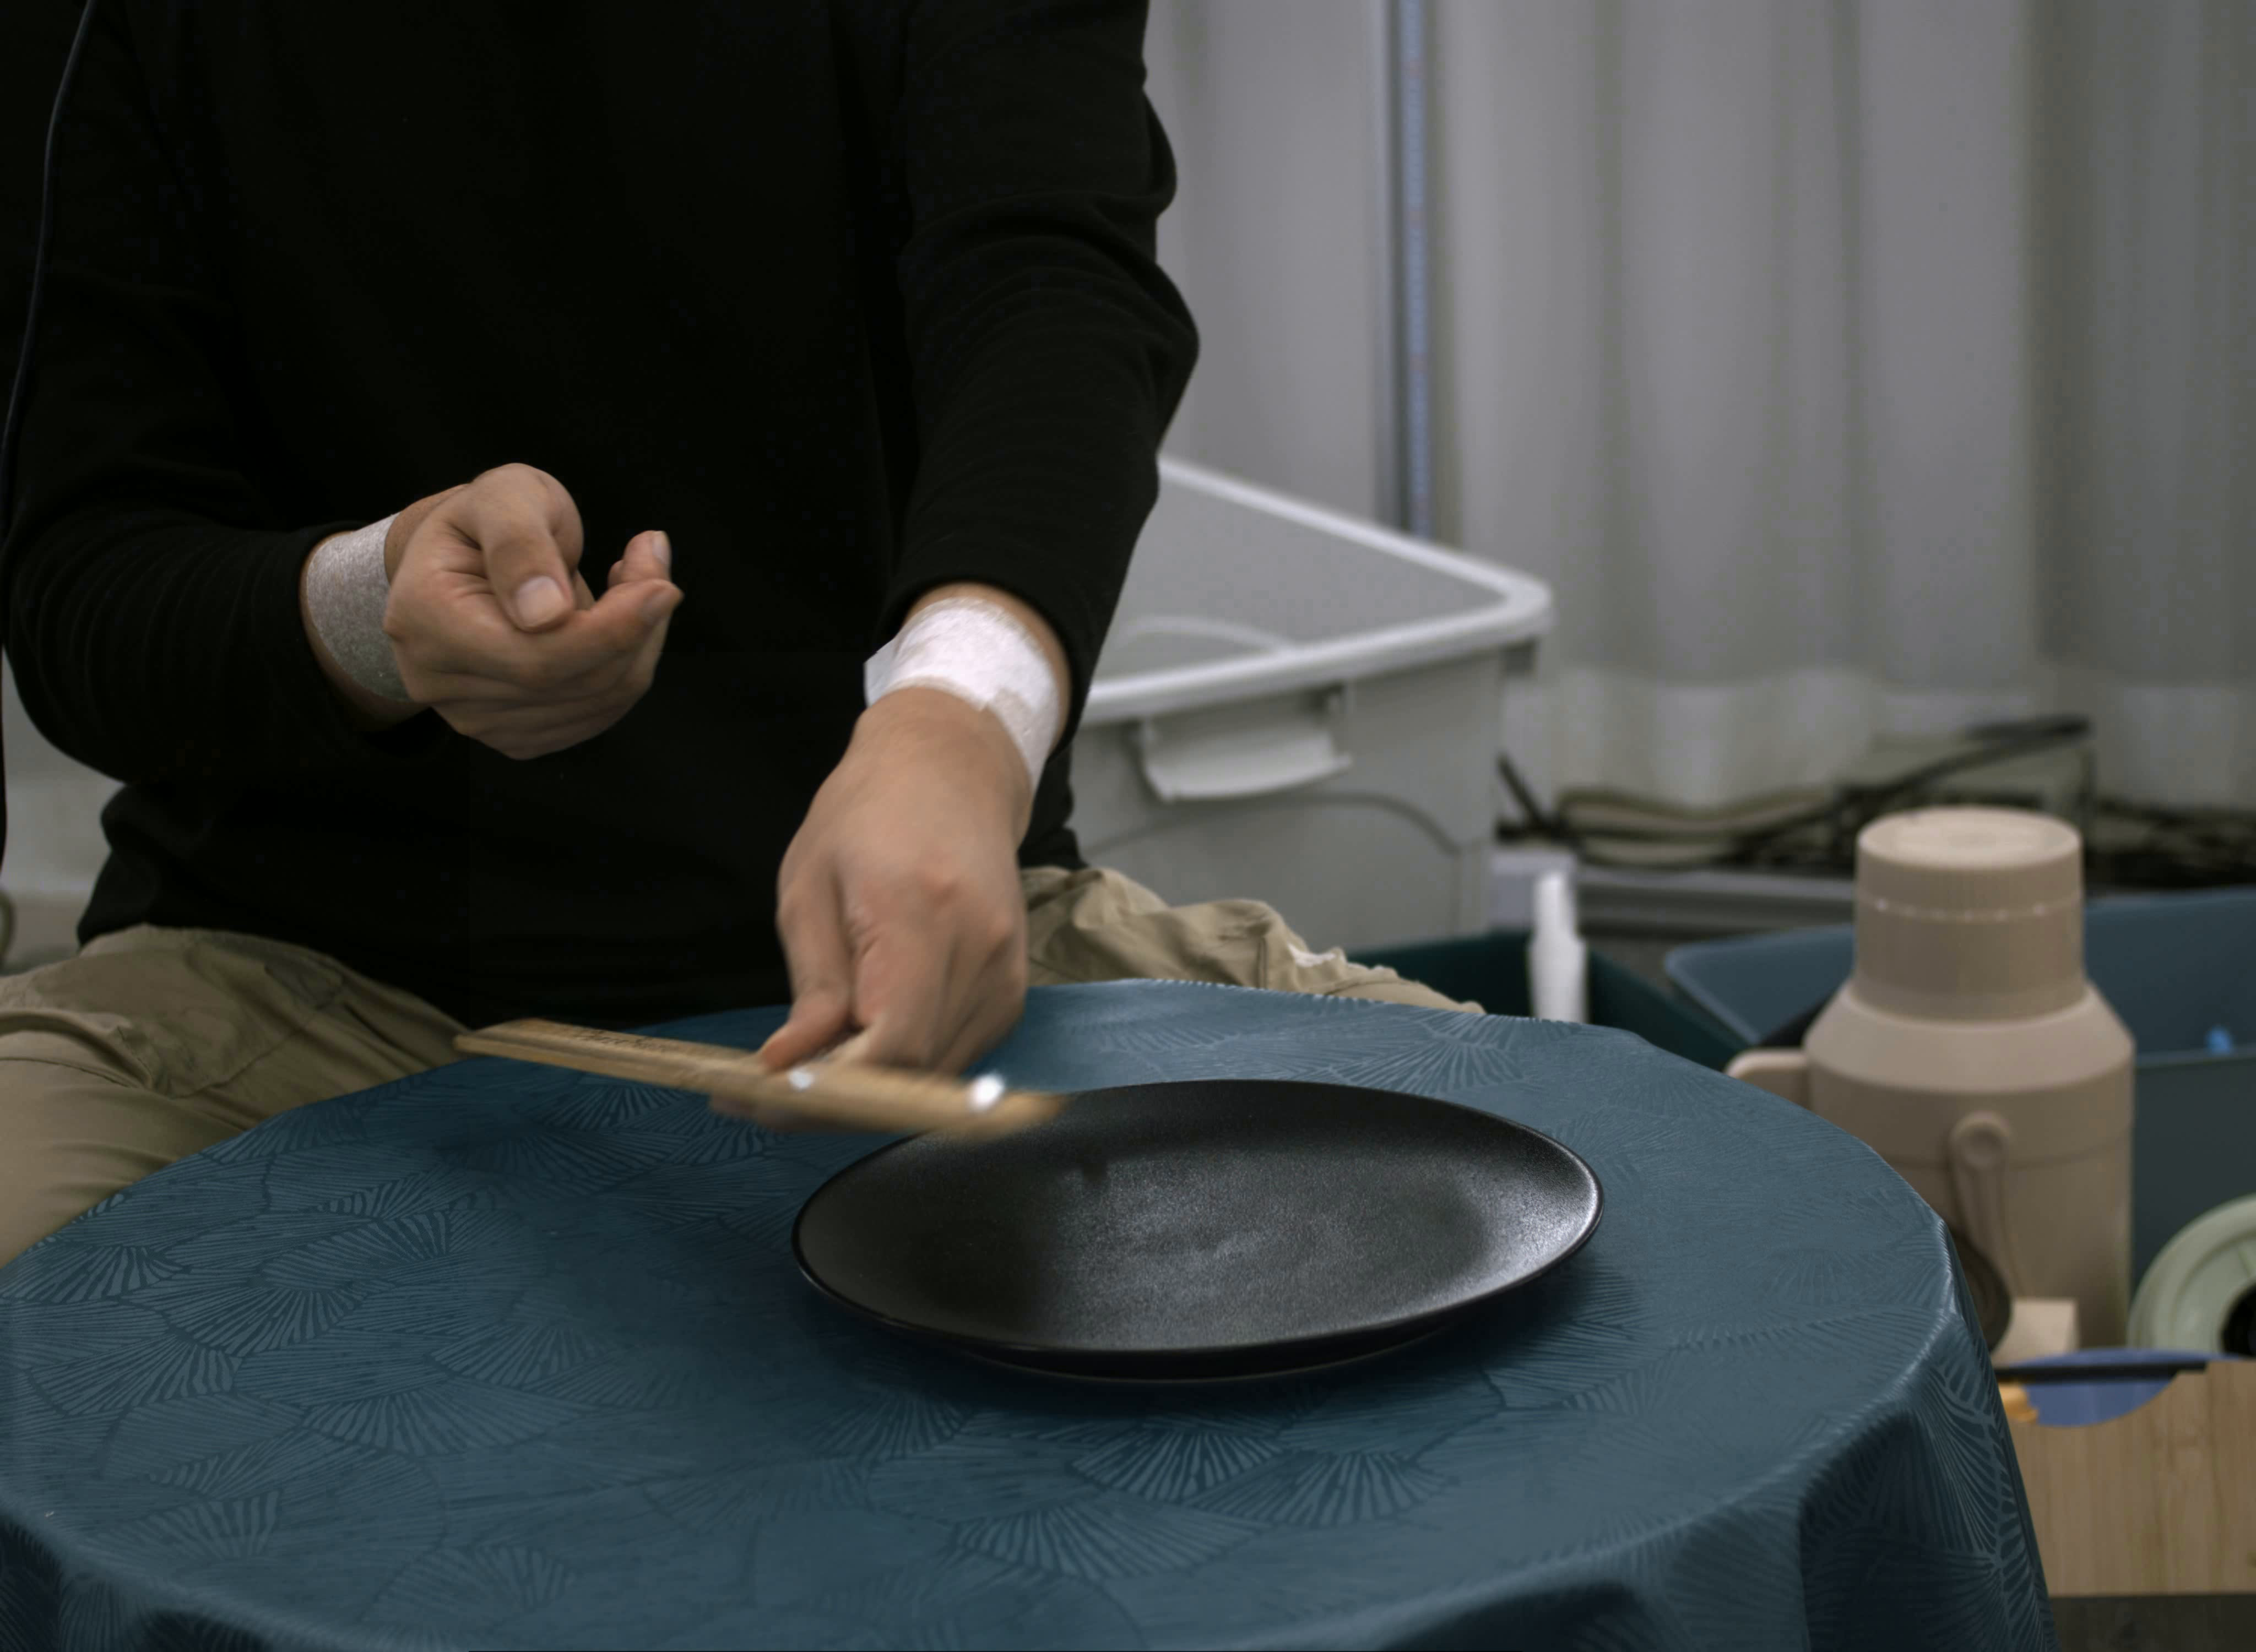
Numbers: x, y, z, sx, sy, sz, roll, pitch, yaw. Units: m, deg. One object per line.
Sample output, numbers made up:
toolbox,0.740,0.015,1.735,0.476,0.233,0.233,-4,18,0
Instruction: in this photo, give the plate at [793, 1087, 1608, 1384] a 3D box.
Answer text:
plate,0.022,0.124,1.630,0.243,0.023,0.246,-3,15,0

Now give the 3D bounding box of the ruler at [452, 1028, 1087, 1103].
ruler,-0.115,0.067,1.570,0.027,0.006,0.501,-13,4,-22
